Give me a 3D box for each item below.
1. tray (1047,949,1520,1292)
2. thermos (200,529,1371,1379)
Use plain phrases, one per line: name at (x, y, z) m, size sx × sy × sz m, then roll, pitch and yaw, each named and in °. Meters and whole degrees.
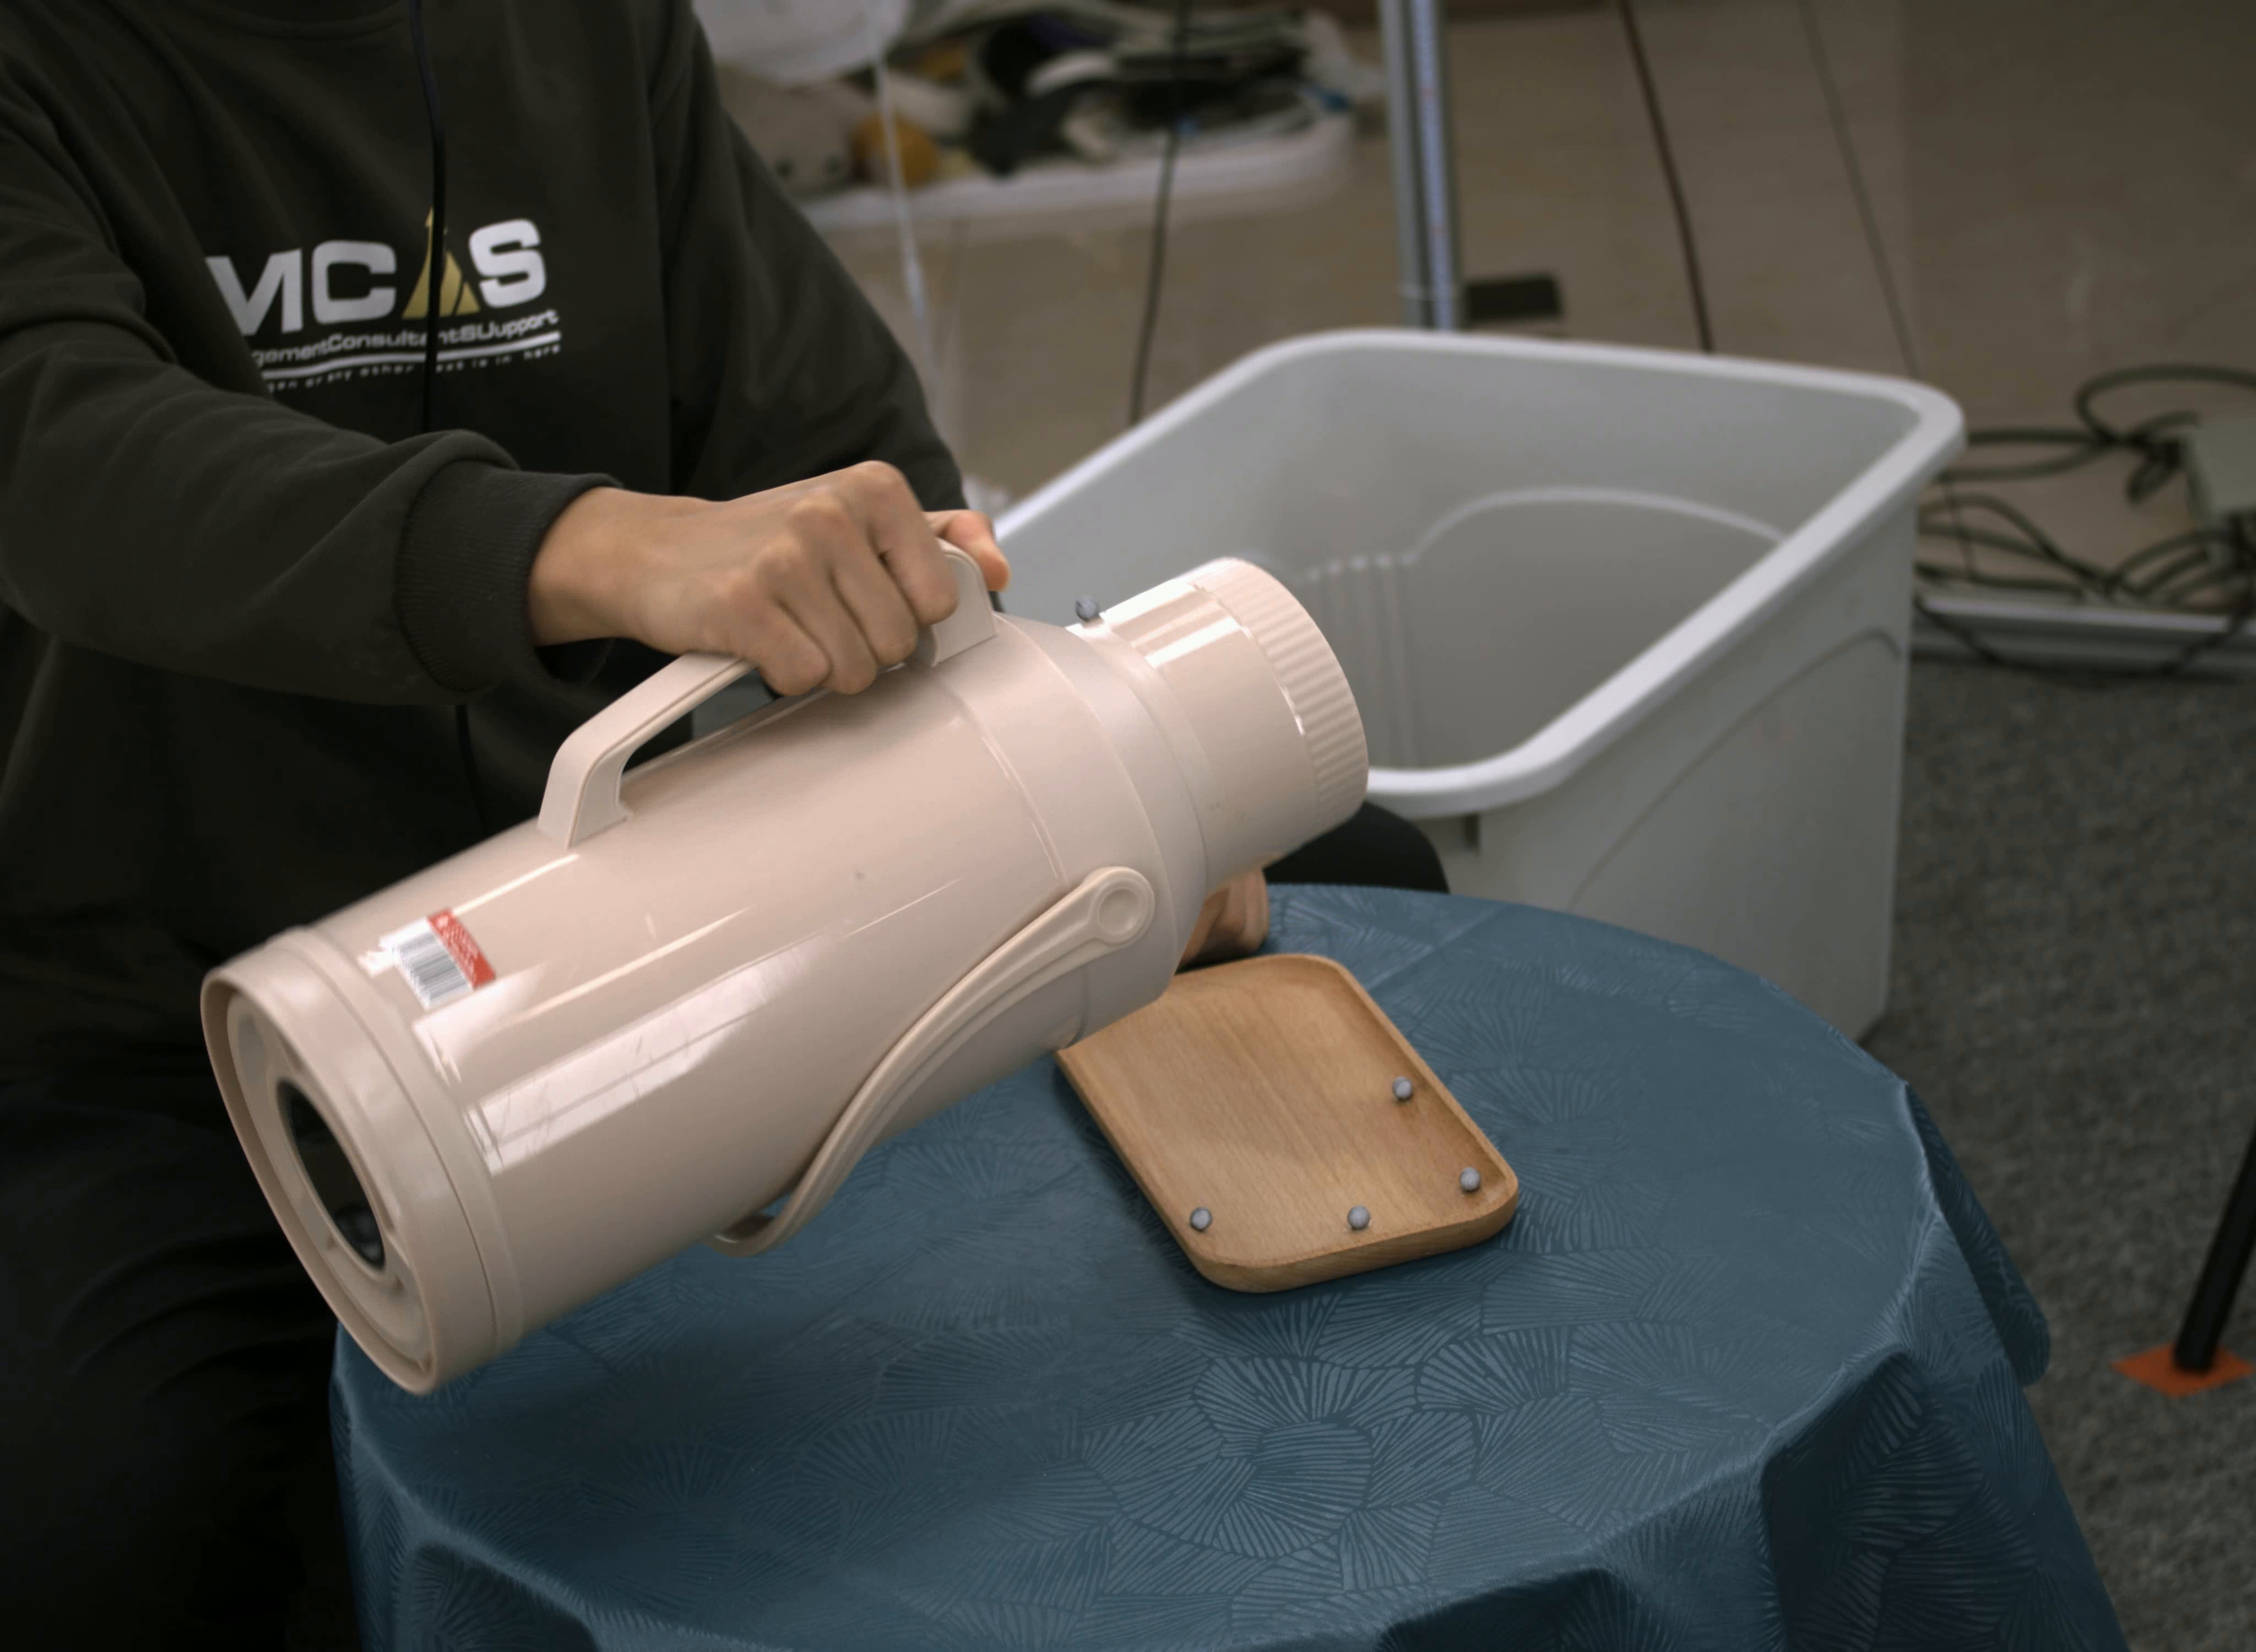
tray at (0.057, 0.111, 2.175) m, size 0.130 × 0.023 × 0.247 m, roll -10°, pitch 24°, yaw -13°
thermos at (-0.113, 0.022, 1.961) m, size 0.404 × 0.210 × 0.173 m, roll -26°, pitch 30°, yaw -21°
